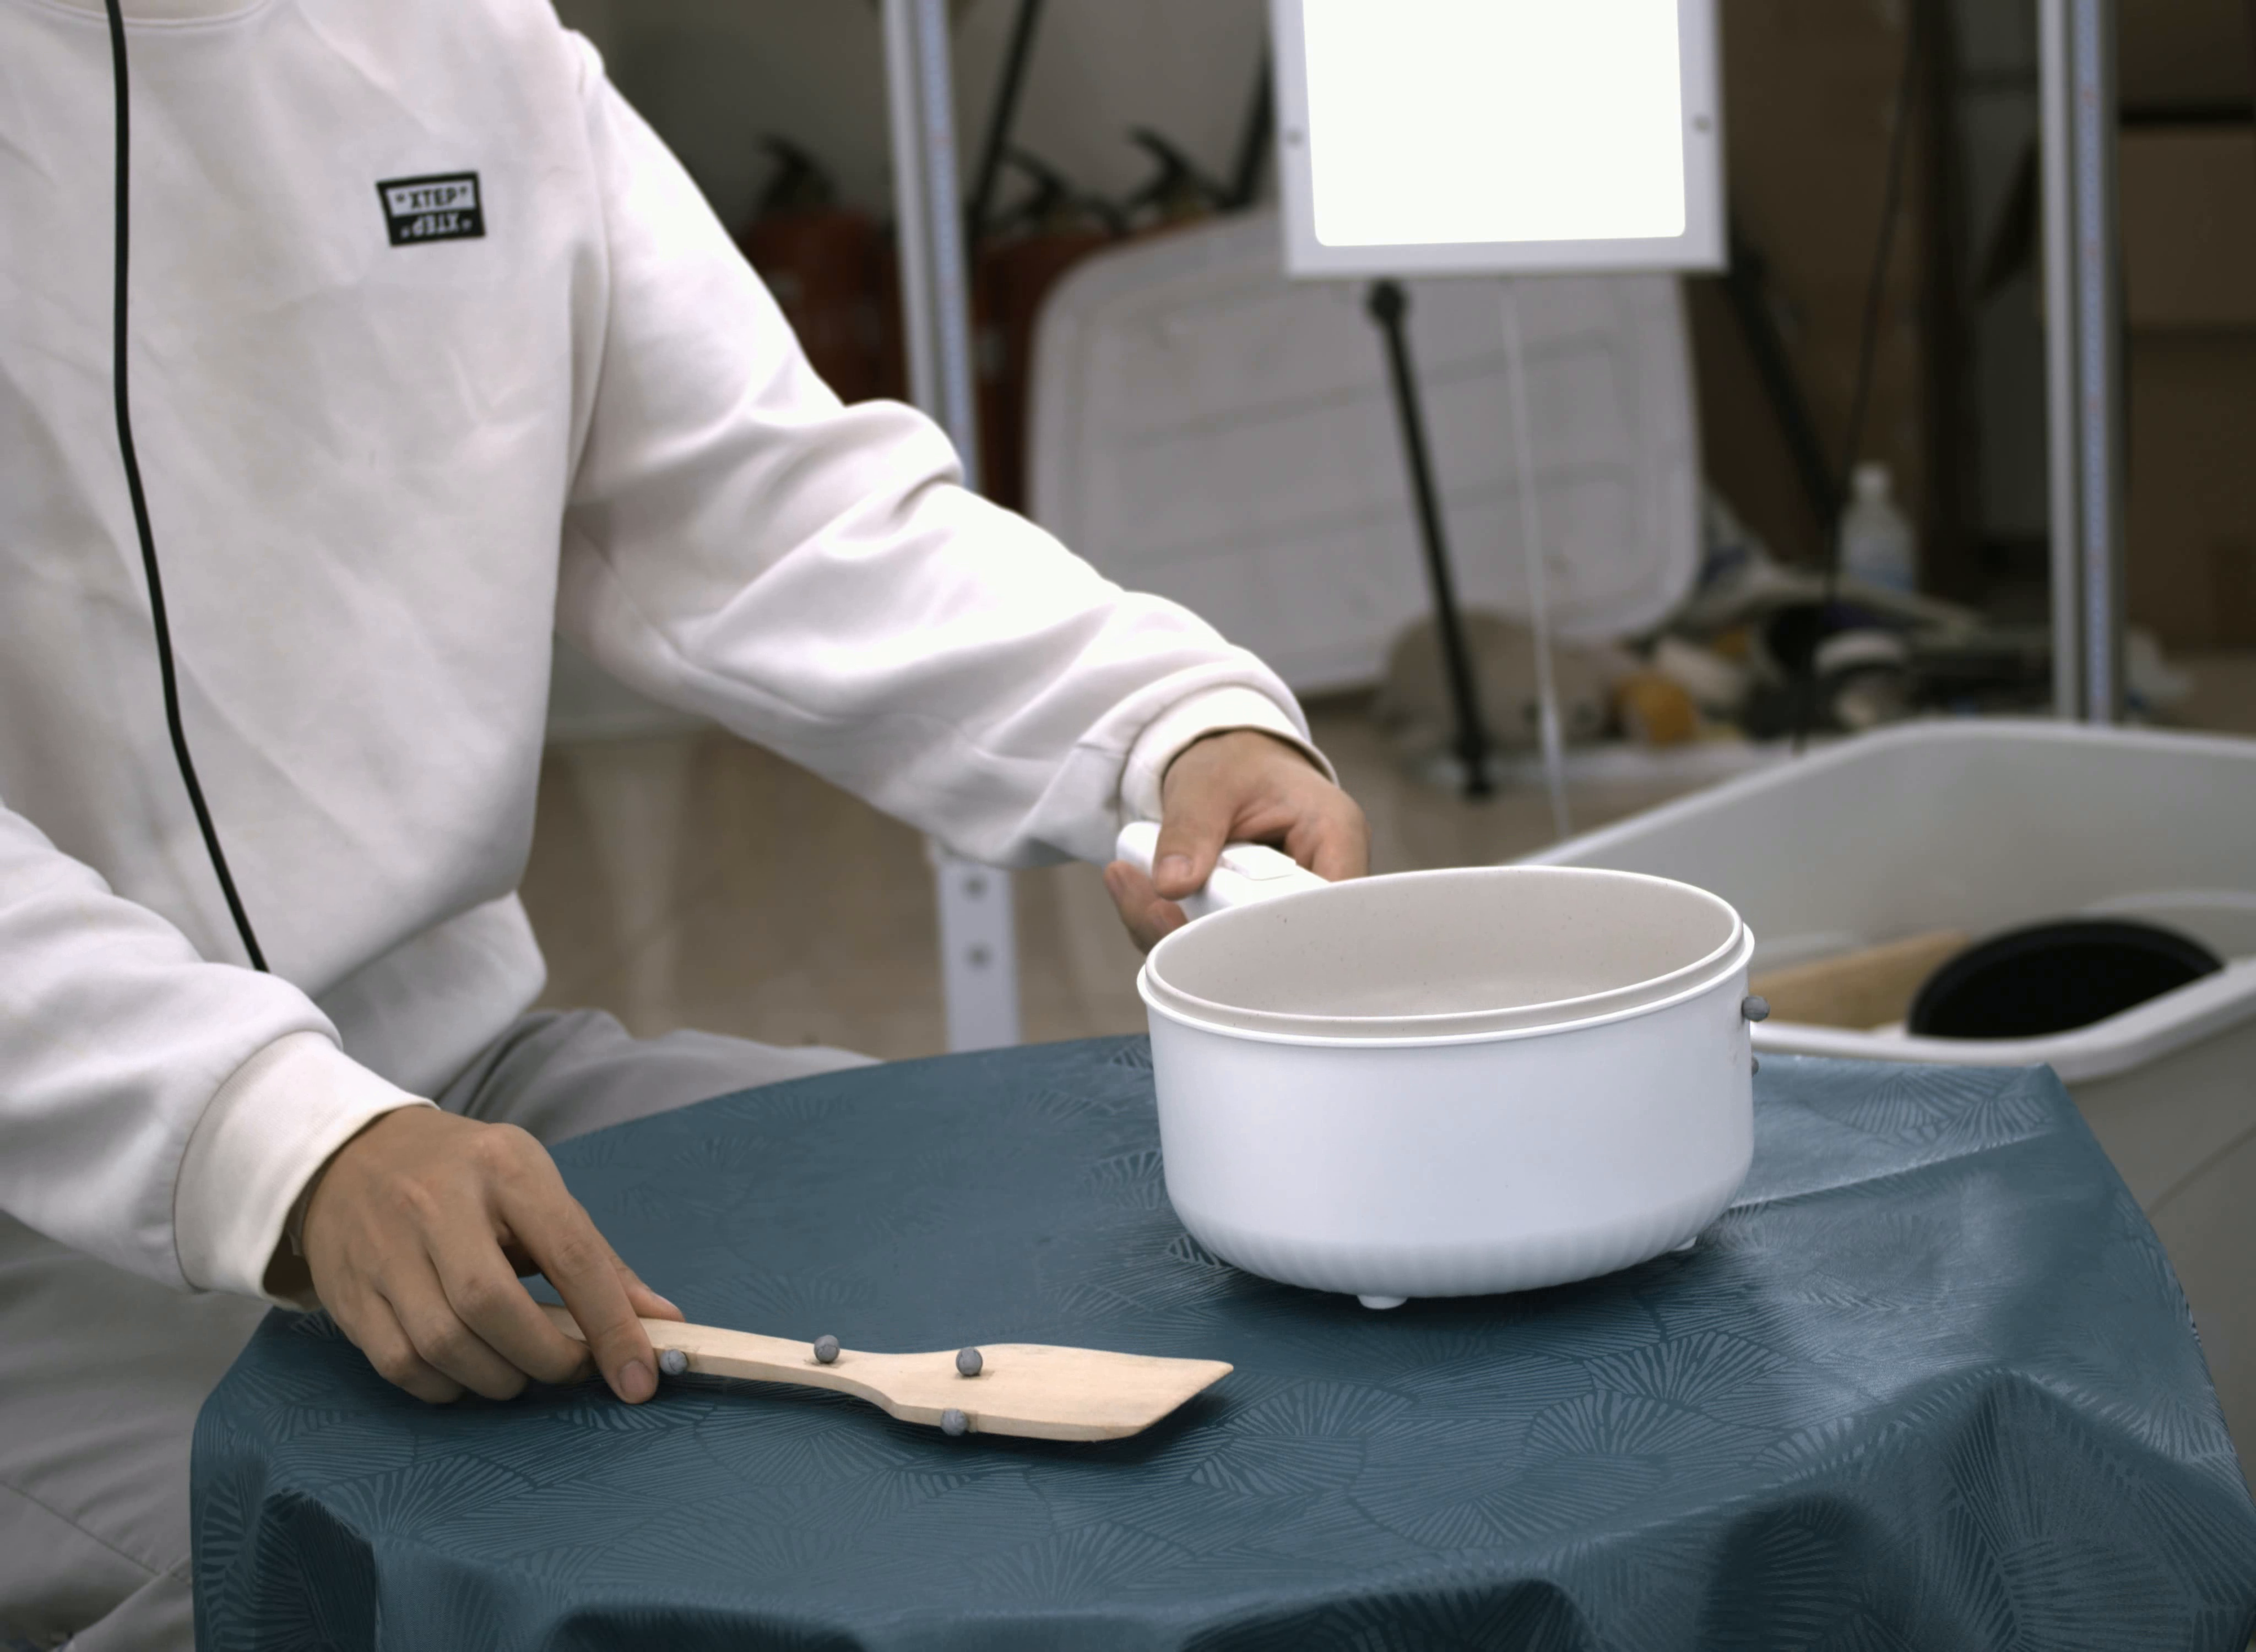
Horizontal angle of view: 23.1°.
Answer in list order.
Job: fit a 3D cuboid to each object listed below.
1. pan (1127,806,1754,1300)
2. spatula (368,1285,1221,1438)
[{"bbox_3d":[0.080,0.070,1.868,0.198,0.102,0.359,-9,13,-19],"label":"pan"},{"bbox_3d":[-0.114,0.165,1.729,0.298,0.011,0.070,4,14,29],"label":"spatula"}]
